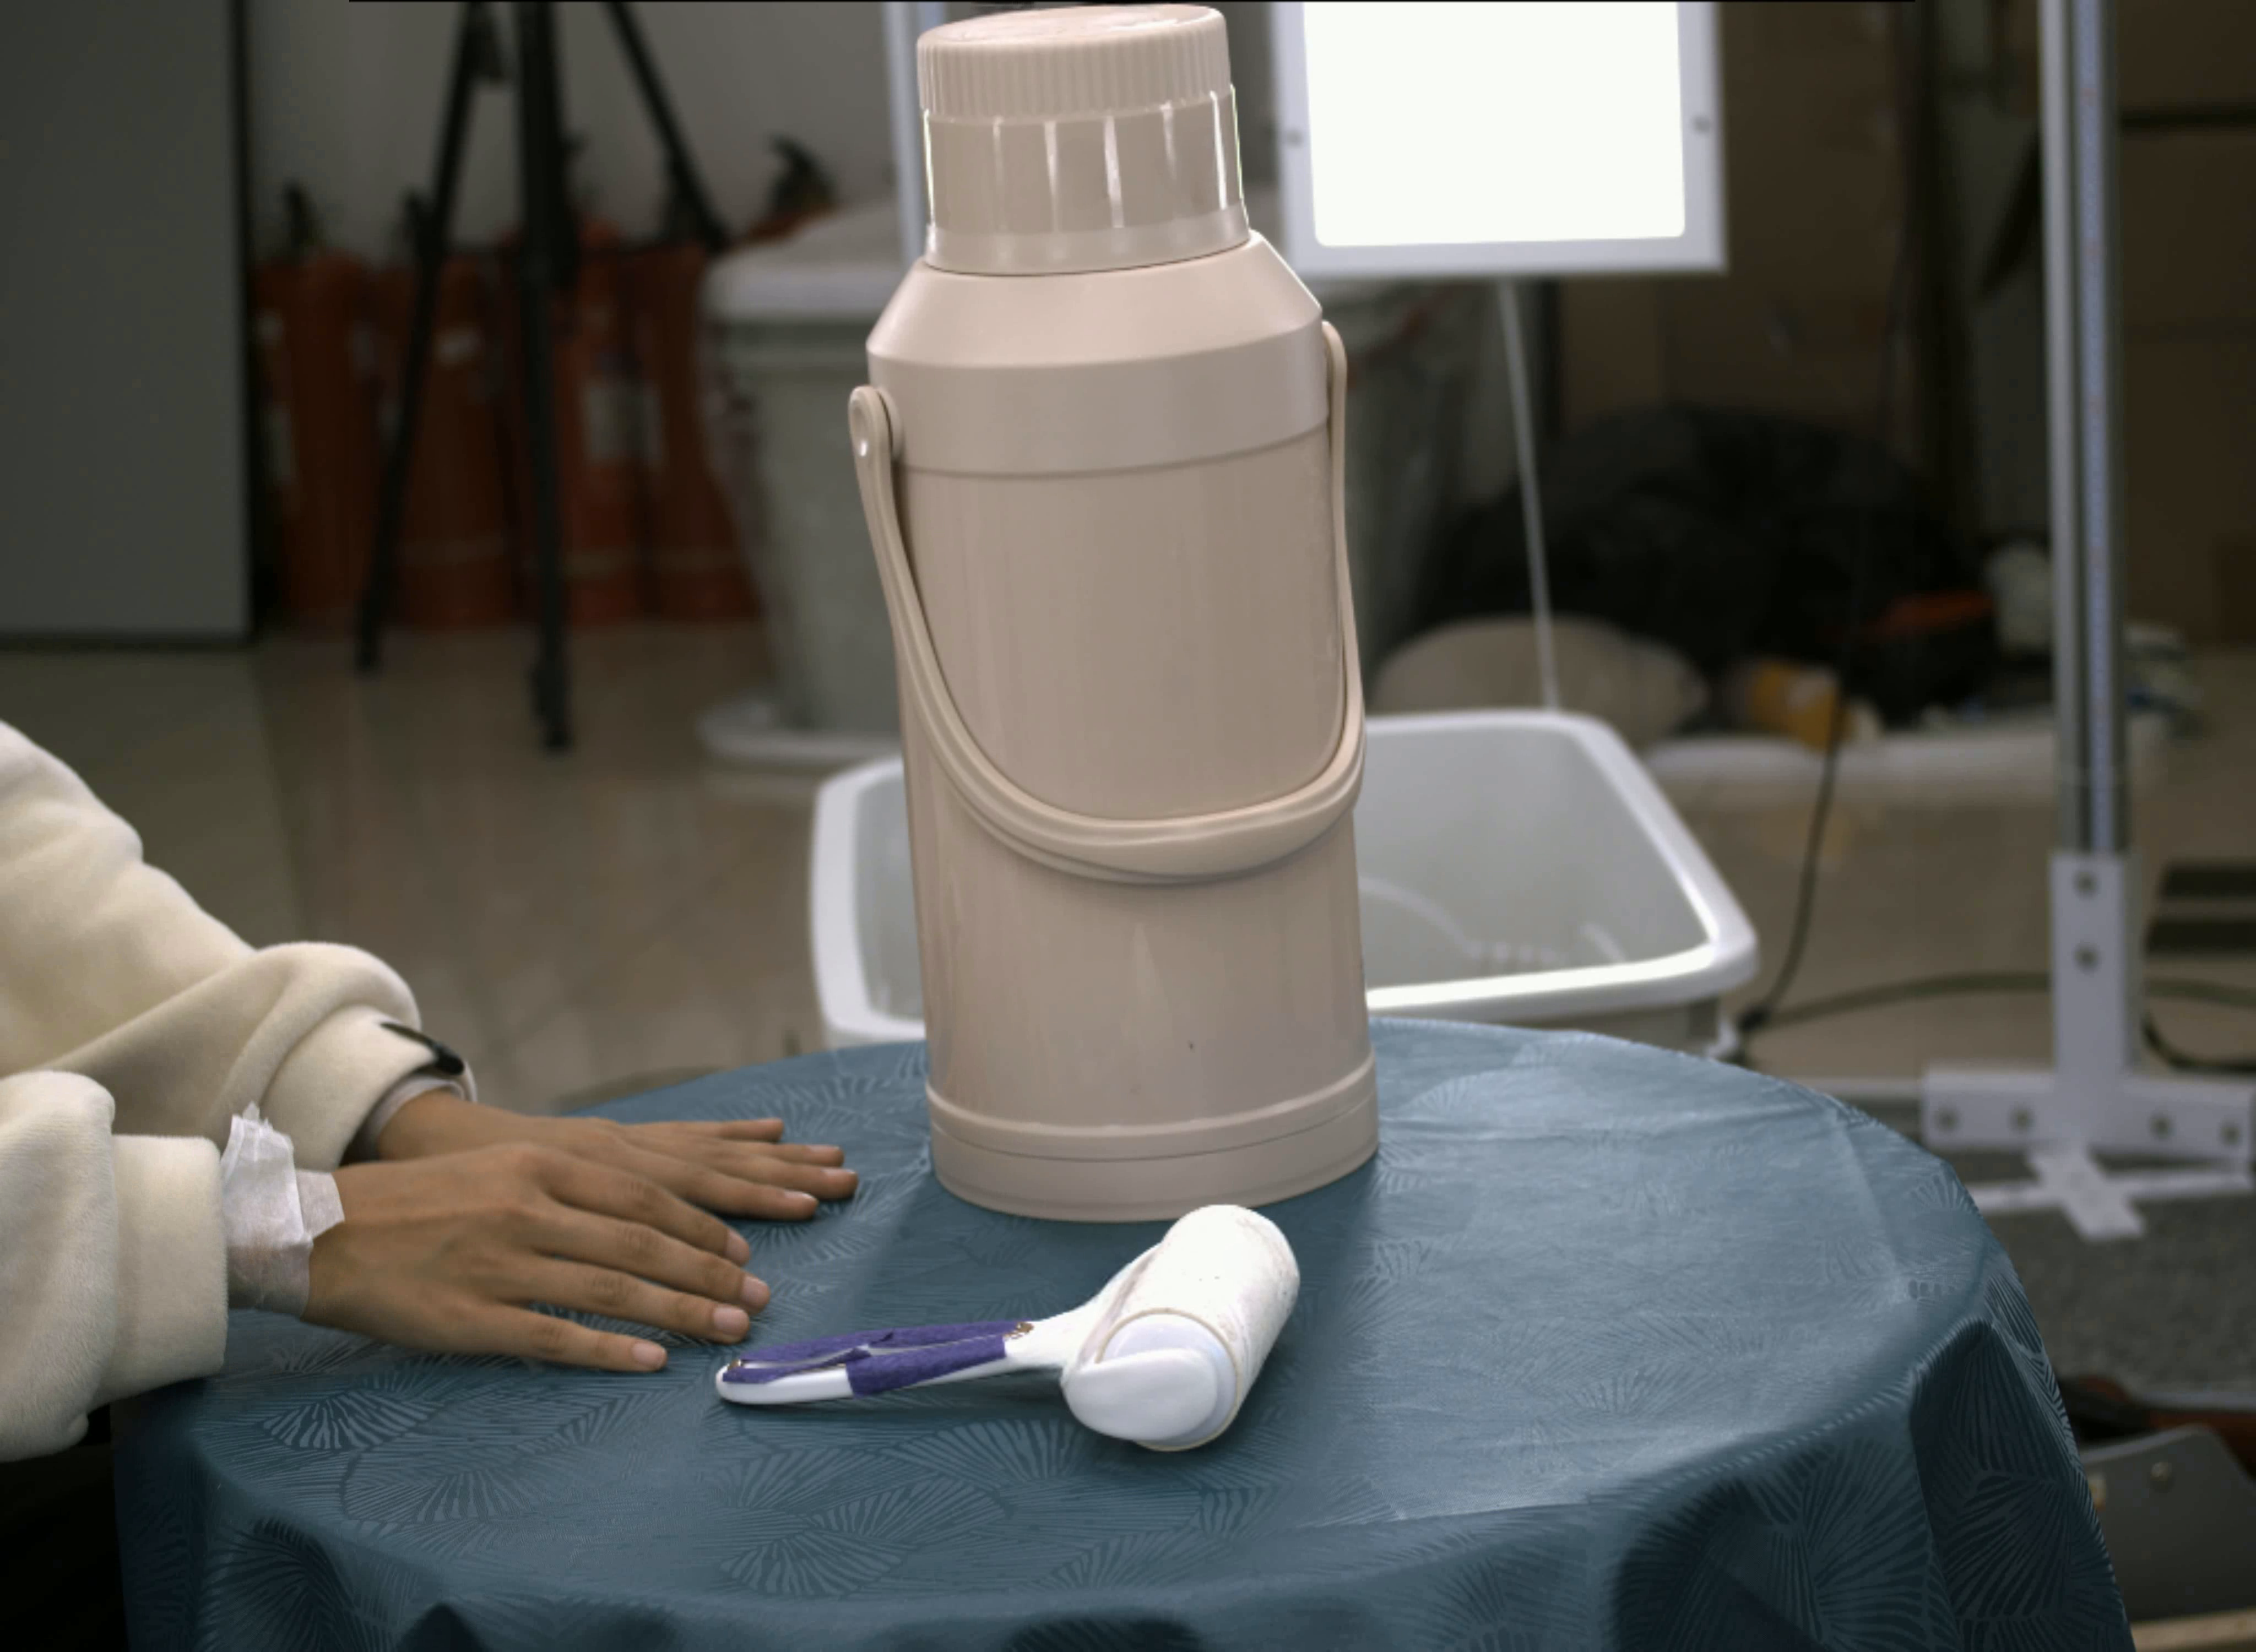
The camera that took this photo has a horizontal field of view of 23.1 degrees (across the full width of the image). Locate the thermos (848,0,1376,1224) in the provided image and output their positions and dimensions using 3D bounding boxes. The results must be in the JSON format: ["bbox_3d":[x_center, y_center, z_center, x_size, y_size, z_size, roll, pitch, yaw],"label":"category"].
[{"bbox_3d":[-0.009,-0.078,1.903,0.172,0.408,0.210,-10,15,-20],"label":"thermos"}]

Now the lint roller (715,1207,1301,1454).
[{"bbox_3d":[-0.041,0.153,1.704,0.182,0.050,0.131,1,16,16],"label":"lint roller"}]
